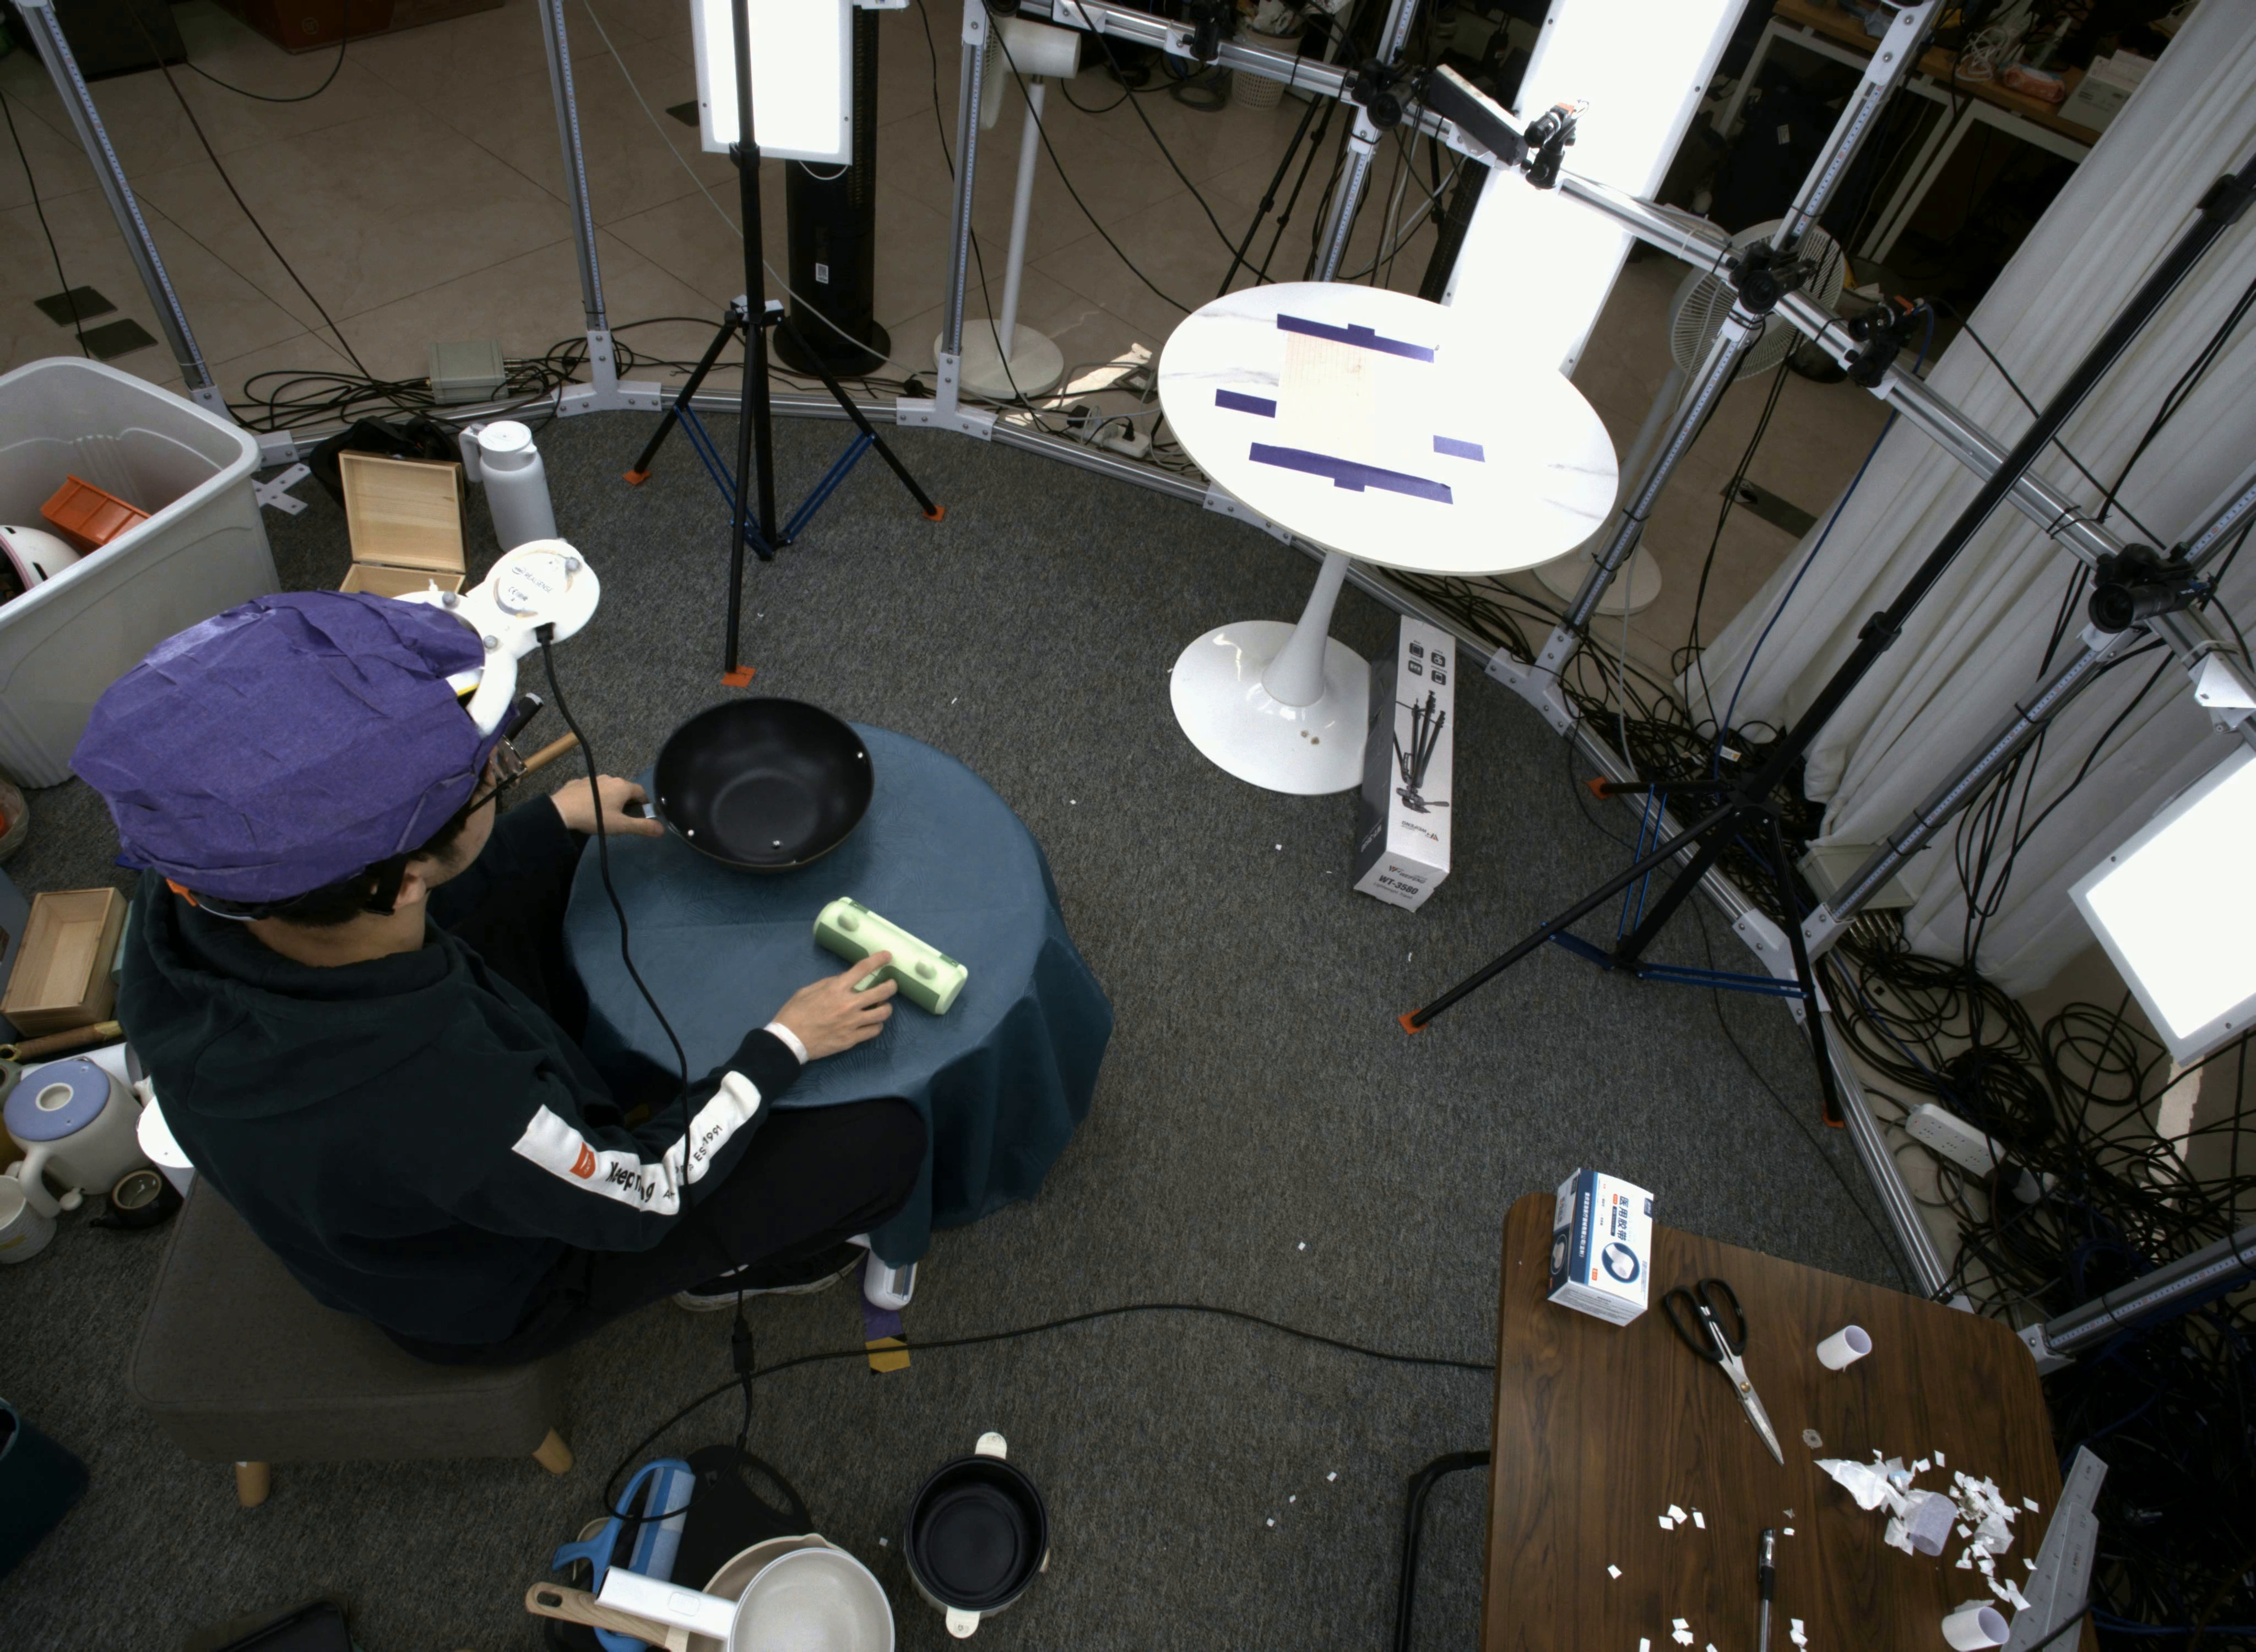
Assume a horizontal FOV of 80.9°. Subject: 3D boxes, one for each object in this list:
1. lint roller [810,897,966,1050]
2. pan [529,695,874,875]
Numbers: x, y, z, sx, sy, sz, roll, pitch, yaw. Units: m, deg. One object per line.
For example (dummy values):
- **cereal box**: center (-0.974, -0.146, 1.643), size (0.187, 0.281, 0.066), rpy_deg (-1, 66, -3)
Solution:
- **lint roller**: center (-0.322, 0.186, 1.571), size (0.195, 0.084, 0.182), rpy_deg (30, 47, 8)
- **pan**: center (-0.552, -0.017, 1.654), size (0.465, 0.088, 0.281), rpy_deg (-17, 60, -24)
